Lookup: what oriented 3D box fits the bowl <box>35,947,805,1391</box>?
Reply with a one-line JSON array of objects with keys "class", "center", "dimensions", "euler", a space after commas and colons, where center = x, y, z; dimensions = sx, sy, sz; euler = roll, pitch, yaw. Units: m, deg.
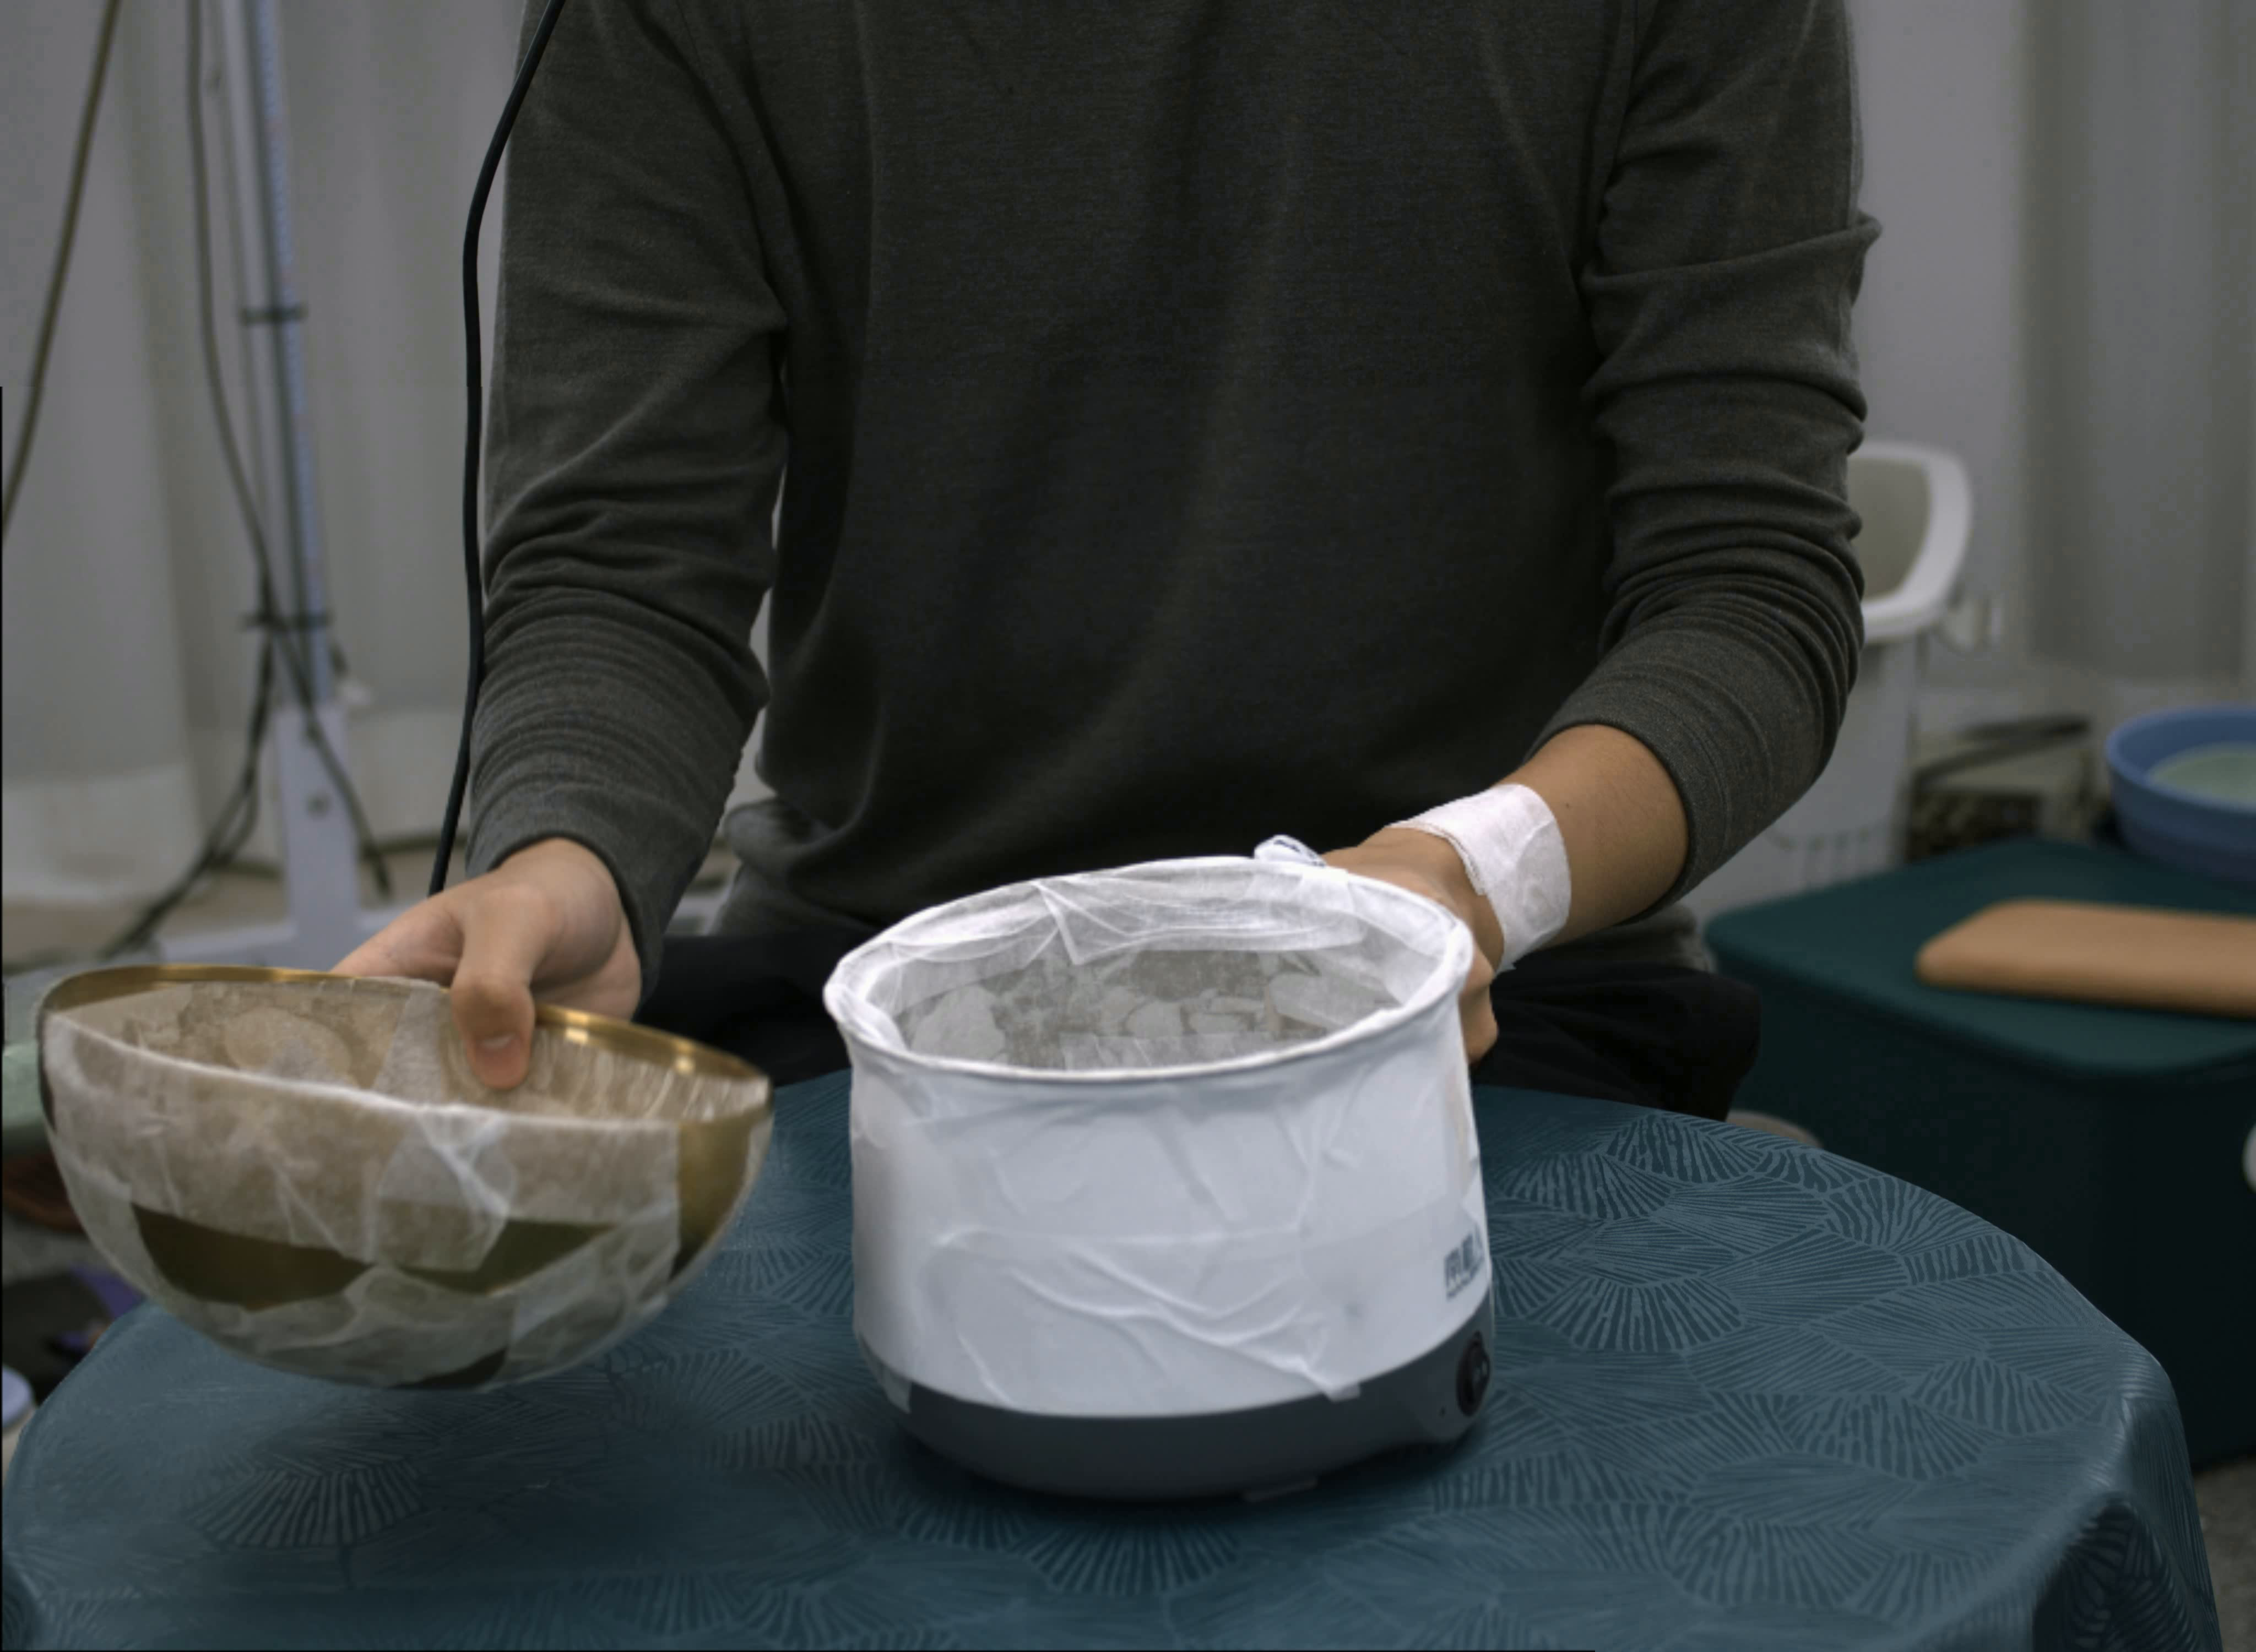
[{"class": "bowl", "center": [-0.198, 0.100, 1.480], "dimensions": [0.214, 0.094, 0.215], "euler": [10, 5, -1]}]

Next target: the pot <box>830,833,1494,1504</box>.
[{"class": "pot", "center": [0.021, 0.089, 1.529], "dimensions": [0.179, 0.136, 0.234], "euler": [3, 18, 22]}]
